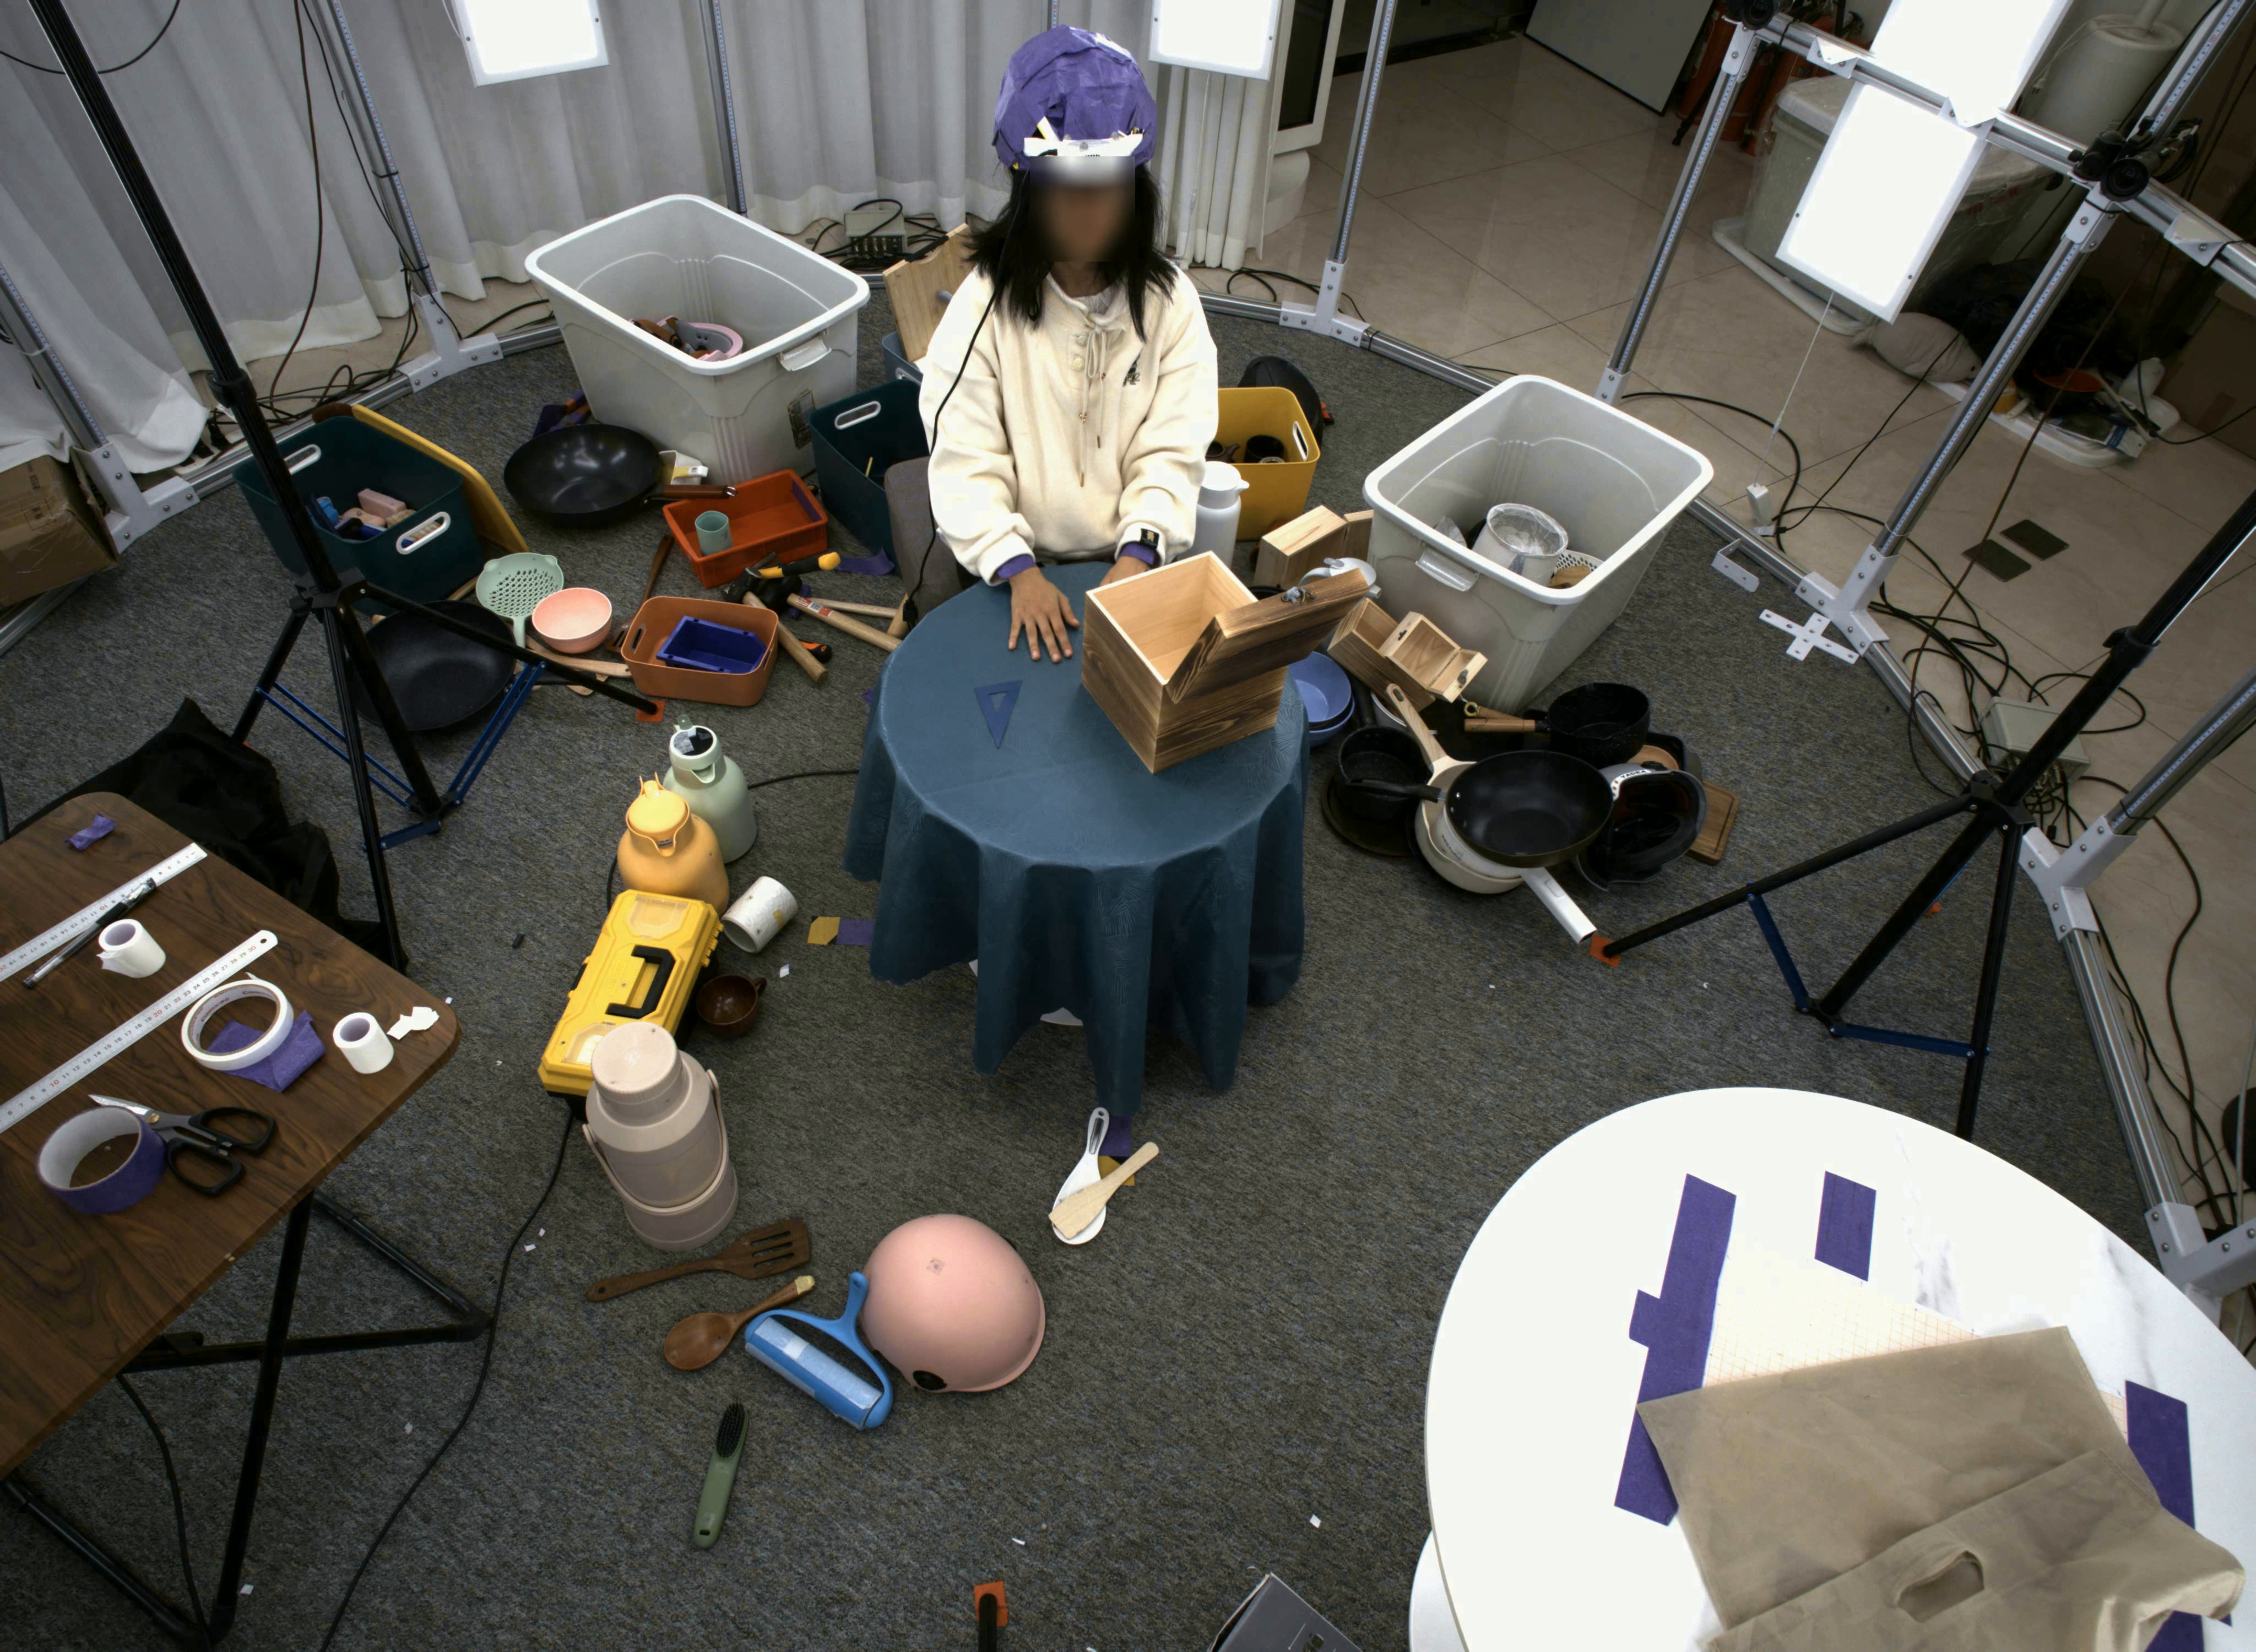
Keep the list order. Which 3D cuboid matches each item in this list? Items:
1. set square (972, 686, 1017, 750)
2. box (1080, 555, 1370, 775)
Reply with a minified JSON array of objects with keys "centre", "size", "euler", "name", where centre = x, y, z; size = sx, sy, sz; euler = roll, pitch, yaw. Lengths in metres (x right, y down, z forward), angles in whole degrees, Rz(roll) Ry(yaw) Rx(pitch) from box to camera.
[{"centre":[-0.201,-0.159,1.791],"size":[0.061,0.006,0.135],"euler":[14,49,6],"name":"set square"},{"centre":[0.108,-0.251,1.665],"size":[0.209,0.366,0.329],"euler":[-21,55,-22],"name":"box"}]
